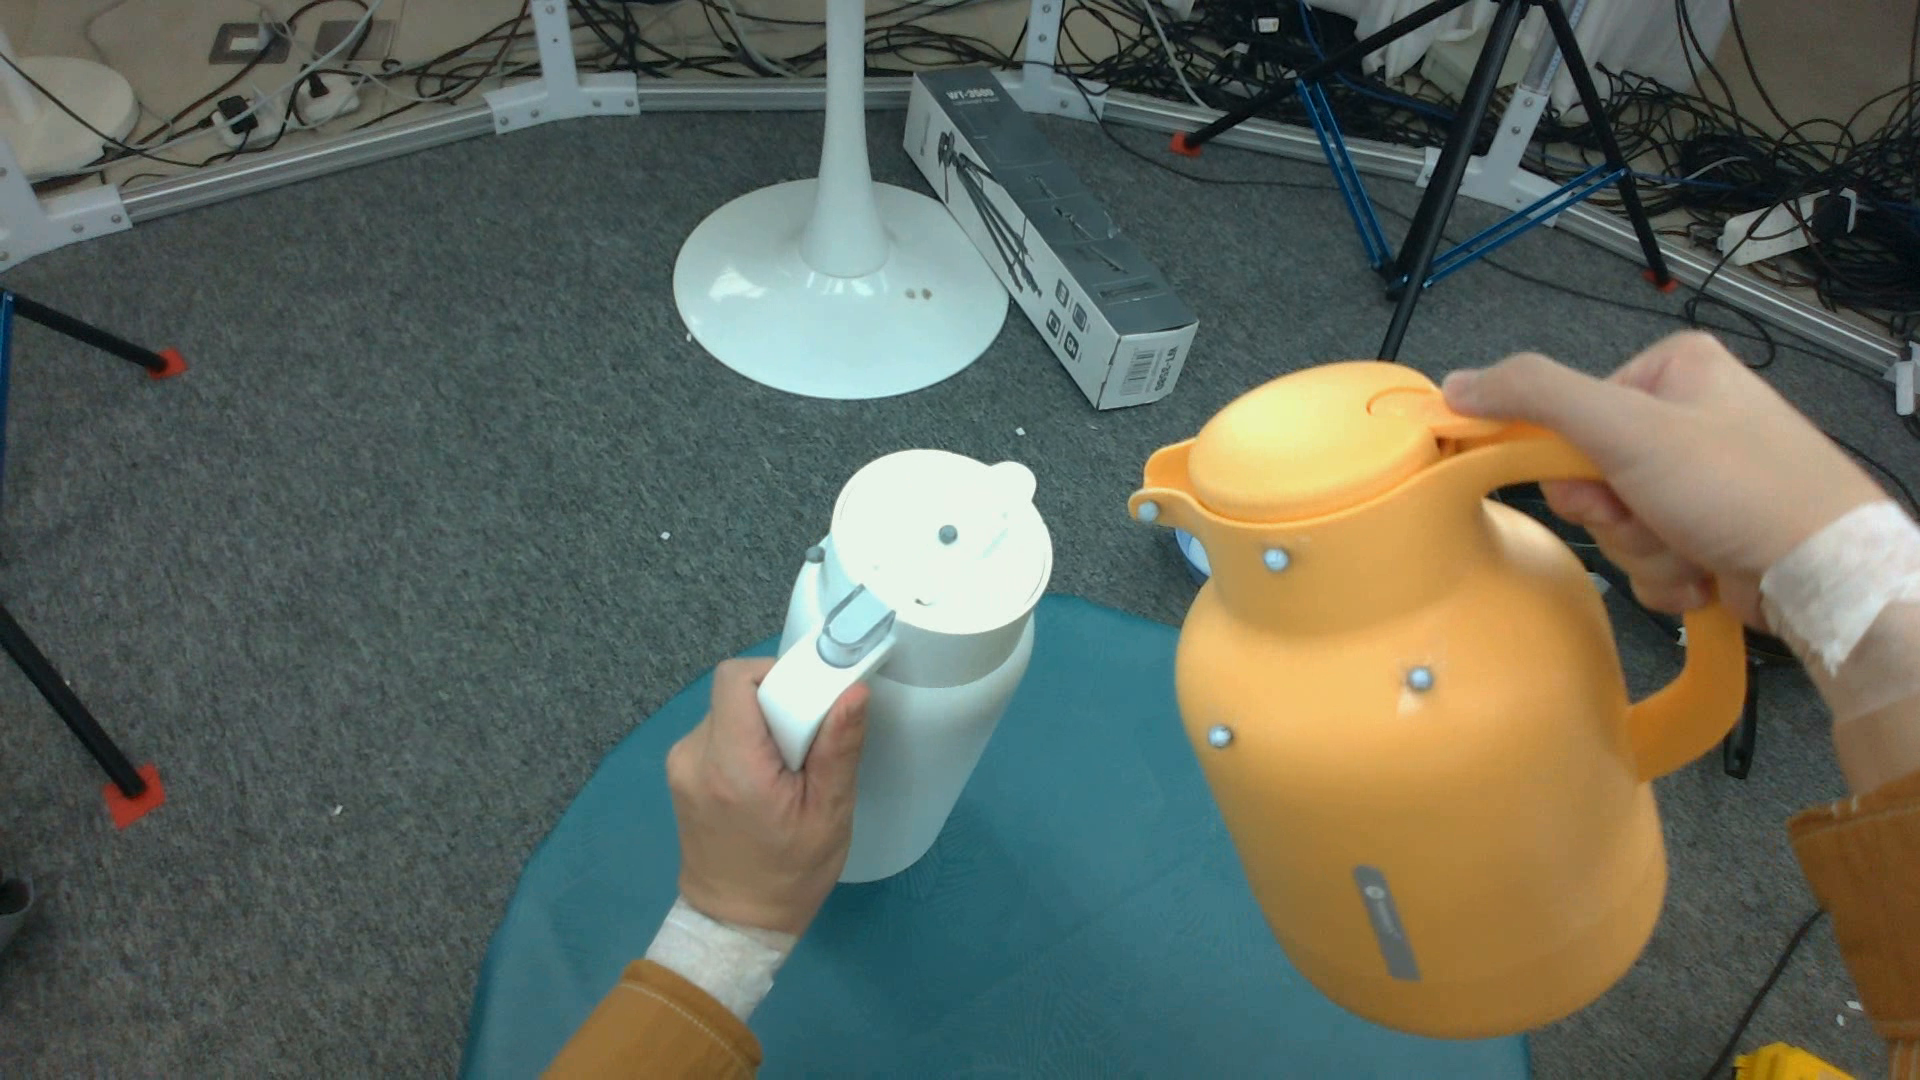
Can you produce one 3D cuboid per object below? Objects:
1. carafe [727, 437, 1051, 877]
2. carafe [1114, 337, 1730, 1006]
[{"bbox_3d":[-0.047,0.079,0.688,0.124,0.267,0.173,38,54,10],"label":"carafe"},{"bbox_3d":[0.183,0.046,0.526,0.202,0.260,0.164,-9,35,33],"label":"carafe"}]
